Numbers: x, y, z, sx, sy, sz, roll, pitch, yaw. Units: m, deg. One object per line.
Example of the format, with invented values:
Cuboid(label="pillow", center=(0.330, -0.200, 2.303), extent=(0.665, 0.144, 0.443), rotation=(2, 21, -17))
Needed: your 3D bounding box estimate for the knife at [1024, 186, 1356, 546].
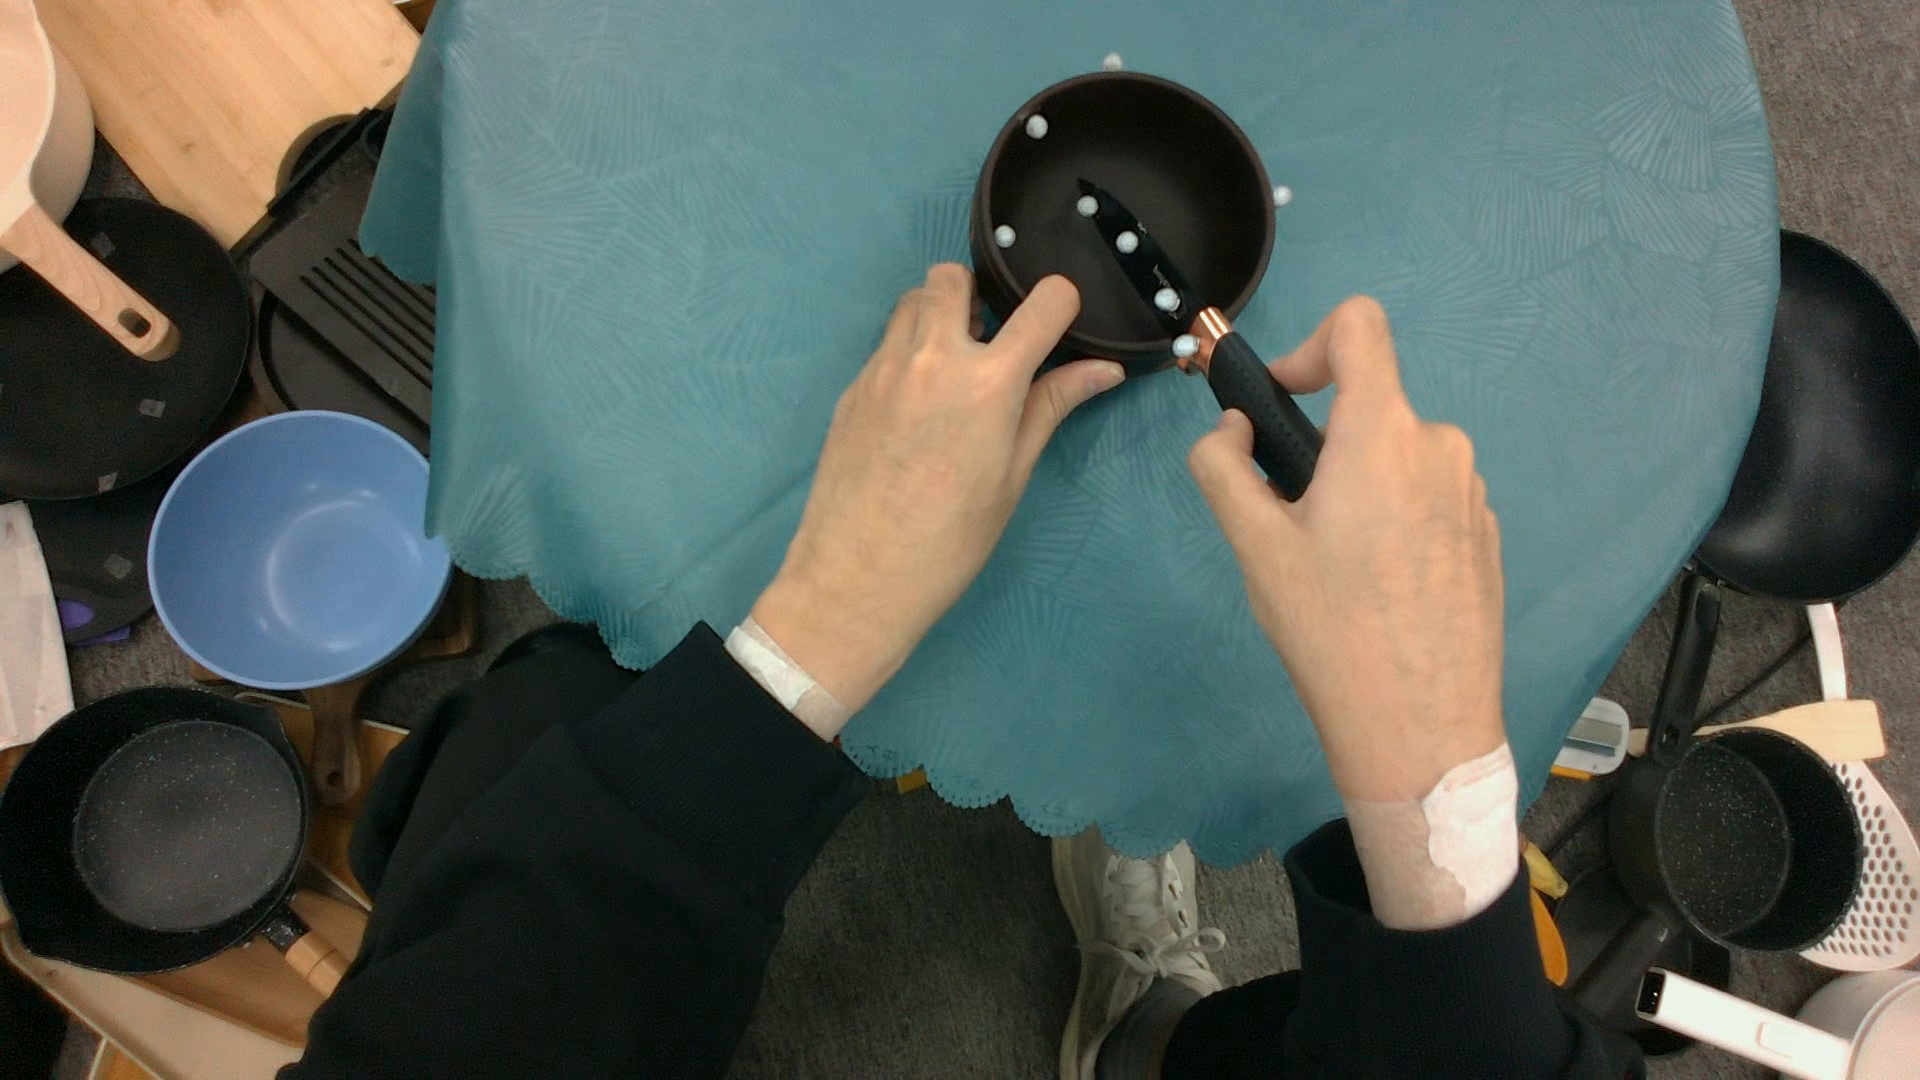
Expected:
Cuboid(label="knife", center=(0.075, -0.075, 0.499), extent=(0.026, 0.017, 0.226), rotation=(-39, 49, 11))

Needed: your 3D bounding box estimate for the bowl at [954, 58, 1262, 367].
Cuboid(label="bowl", center=(0.055, -0.125, 0.554), extent=(0.118, 0.069, 0.118), rotation=(1, 80, -6))
